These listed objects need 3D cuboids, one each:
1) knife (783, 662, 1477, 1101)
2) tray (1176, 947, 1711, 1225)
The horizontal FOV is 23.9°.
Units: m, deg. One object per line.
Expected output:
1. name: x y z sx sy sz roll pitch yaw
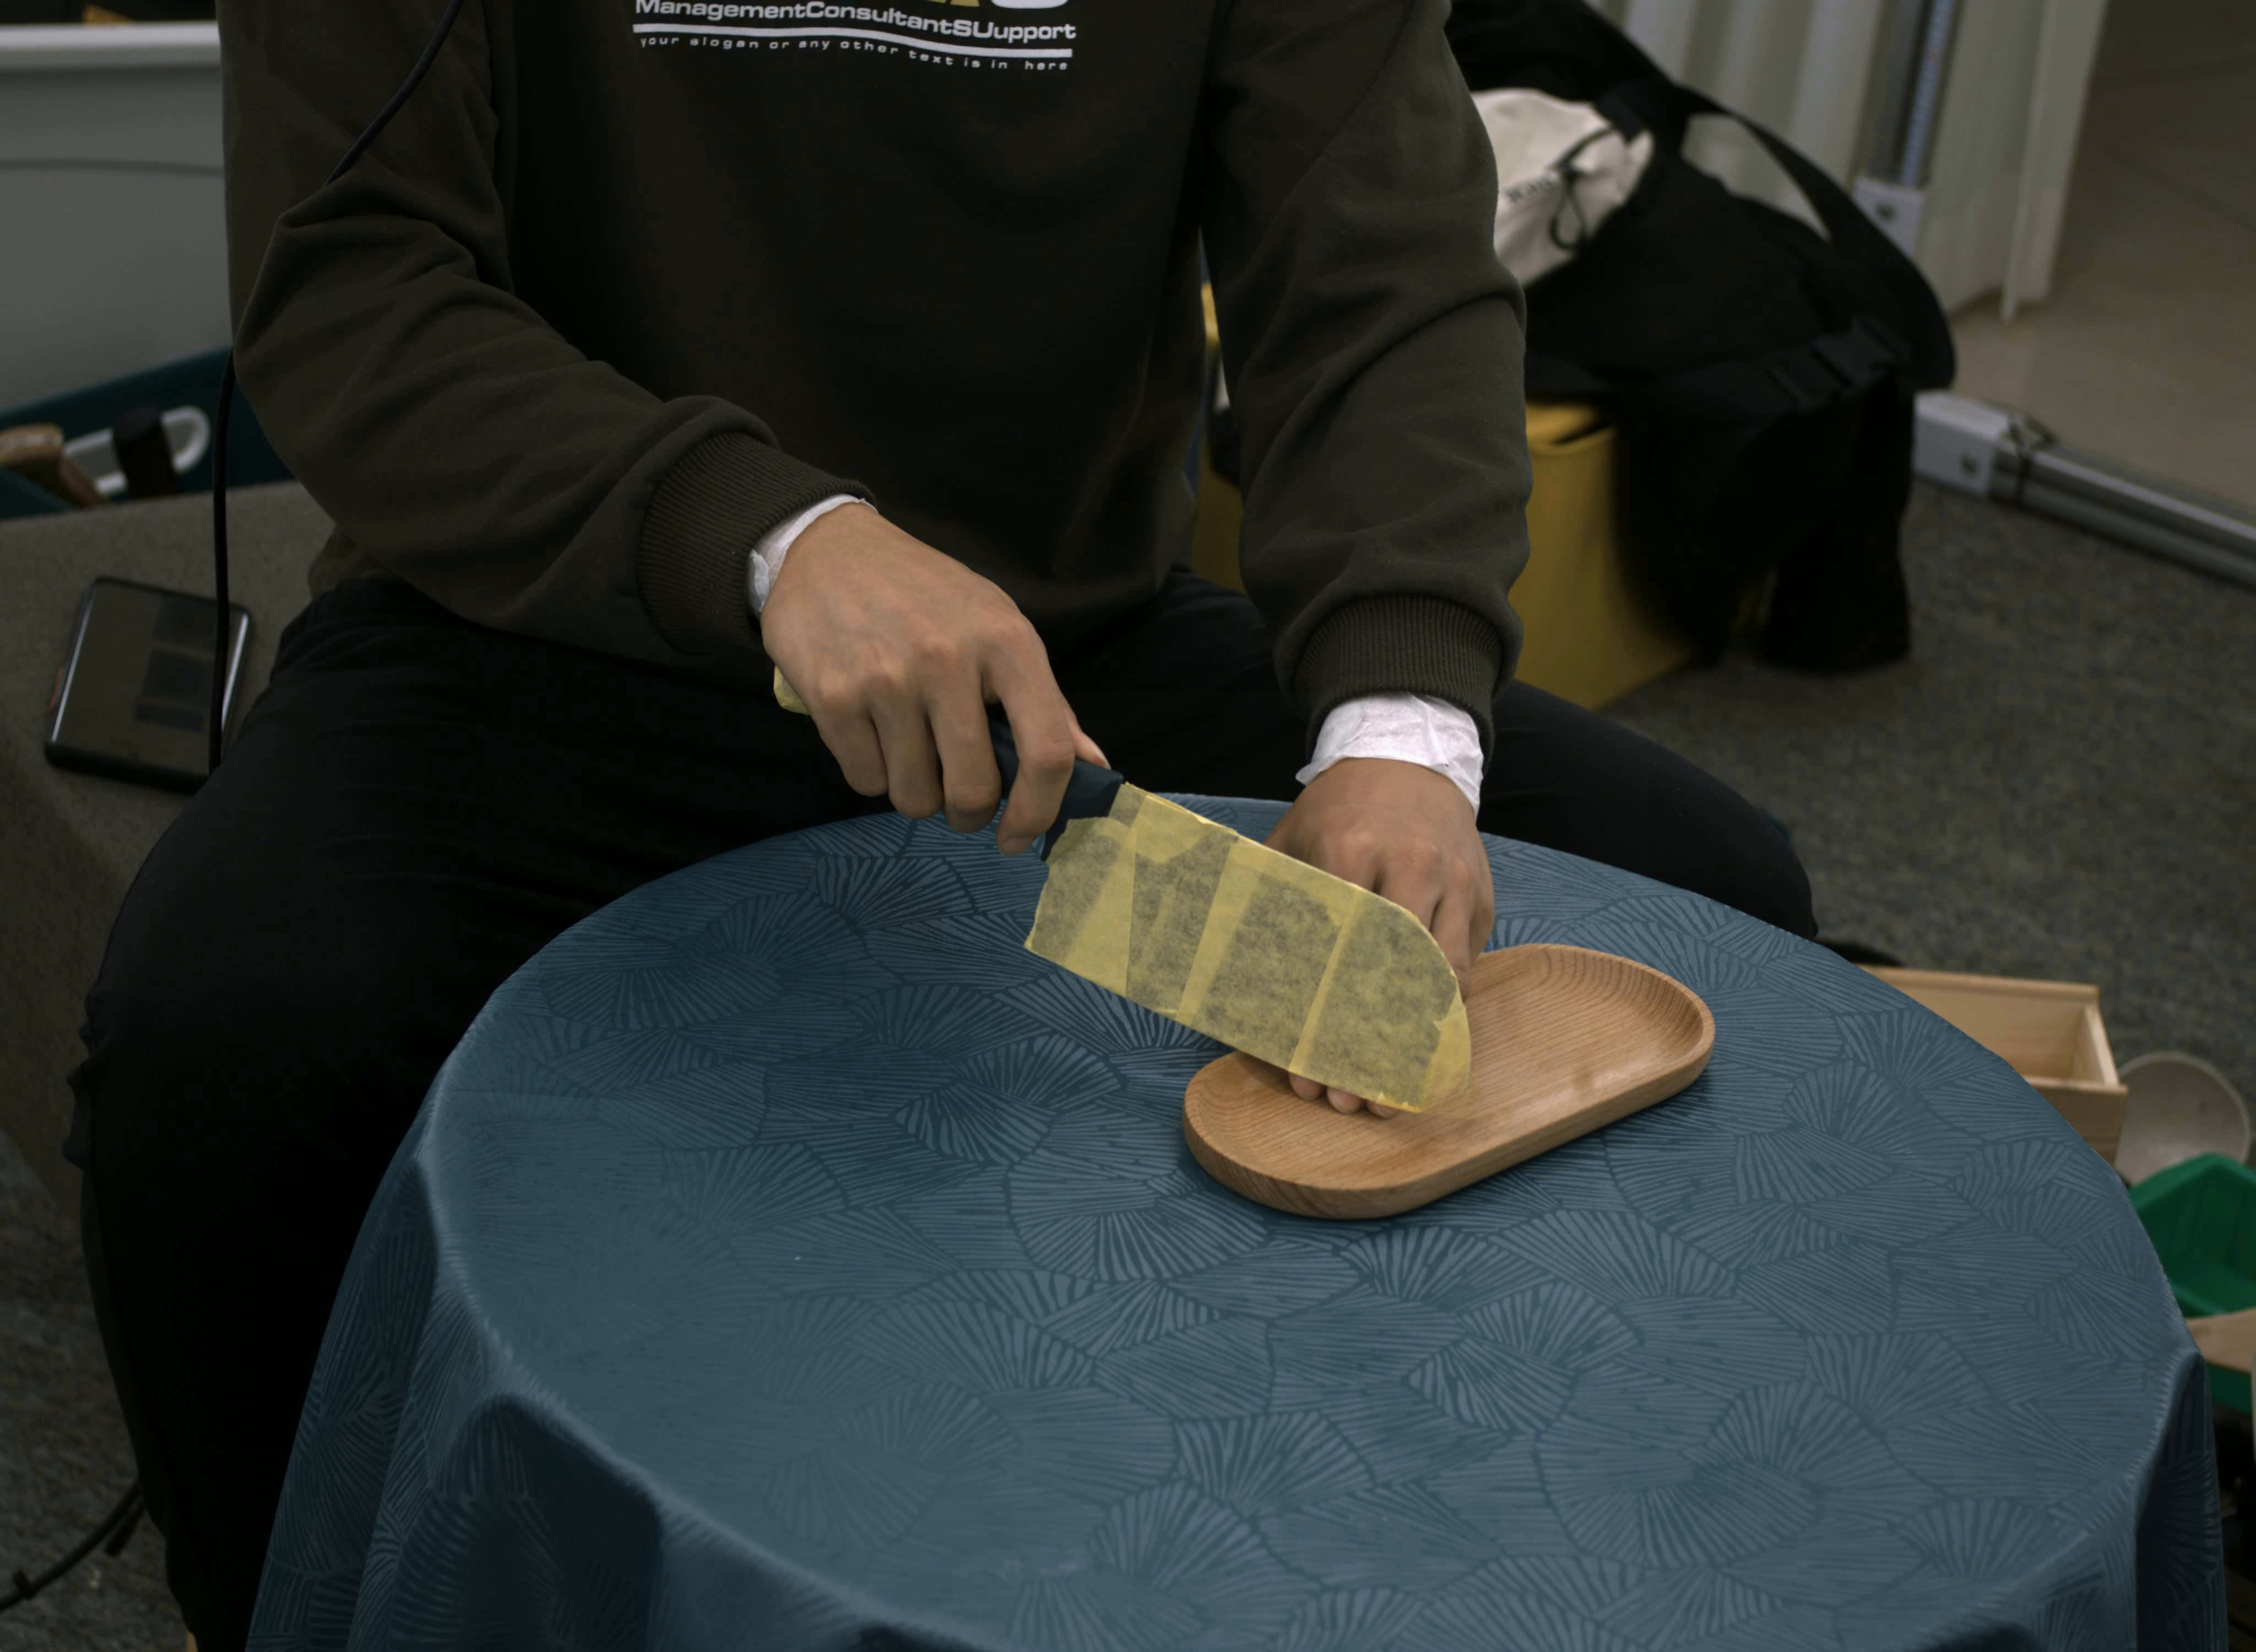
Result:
1. knife: -0.003 0.018 1.873 0.290 0.081 0.027 27 16 18
2. tray: 0.113 0.091 1.879 0.230 0.020 0.102 -21 35 -40
